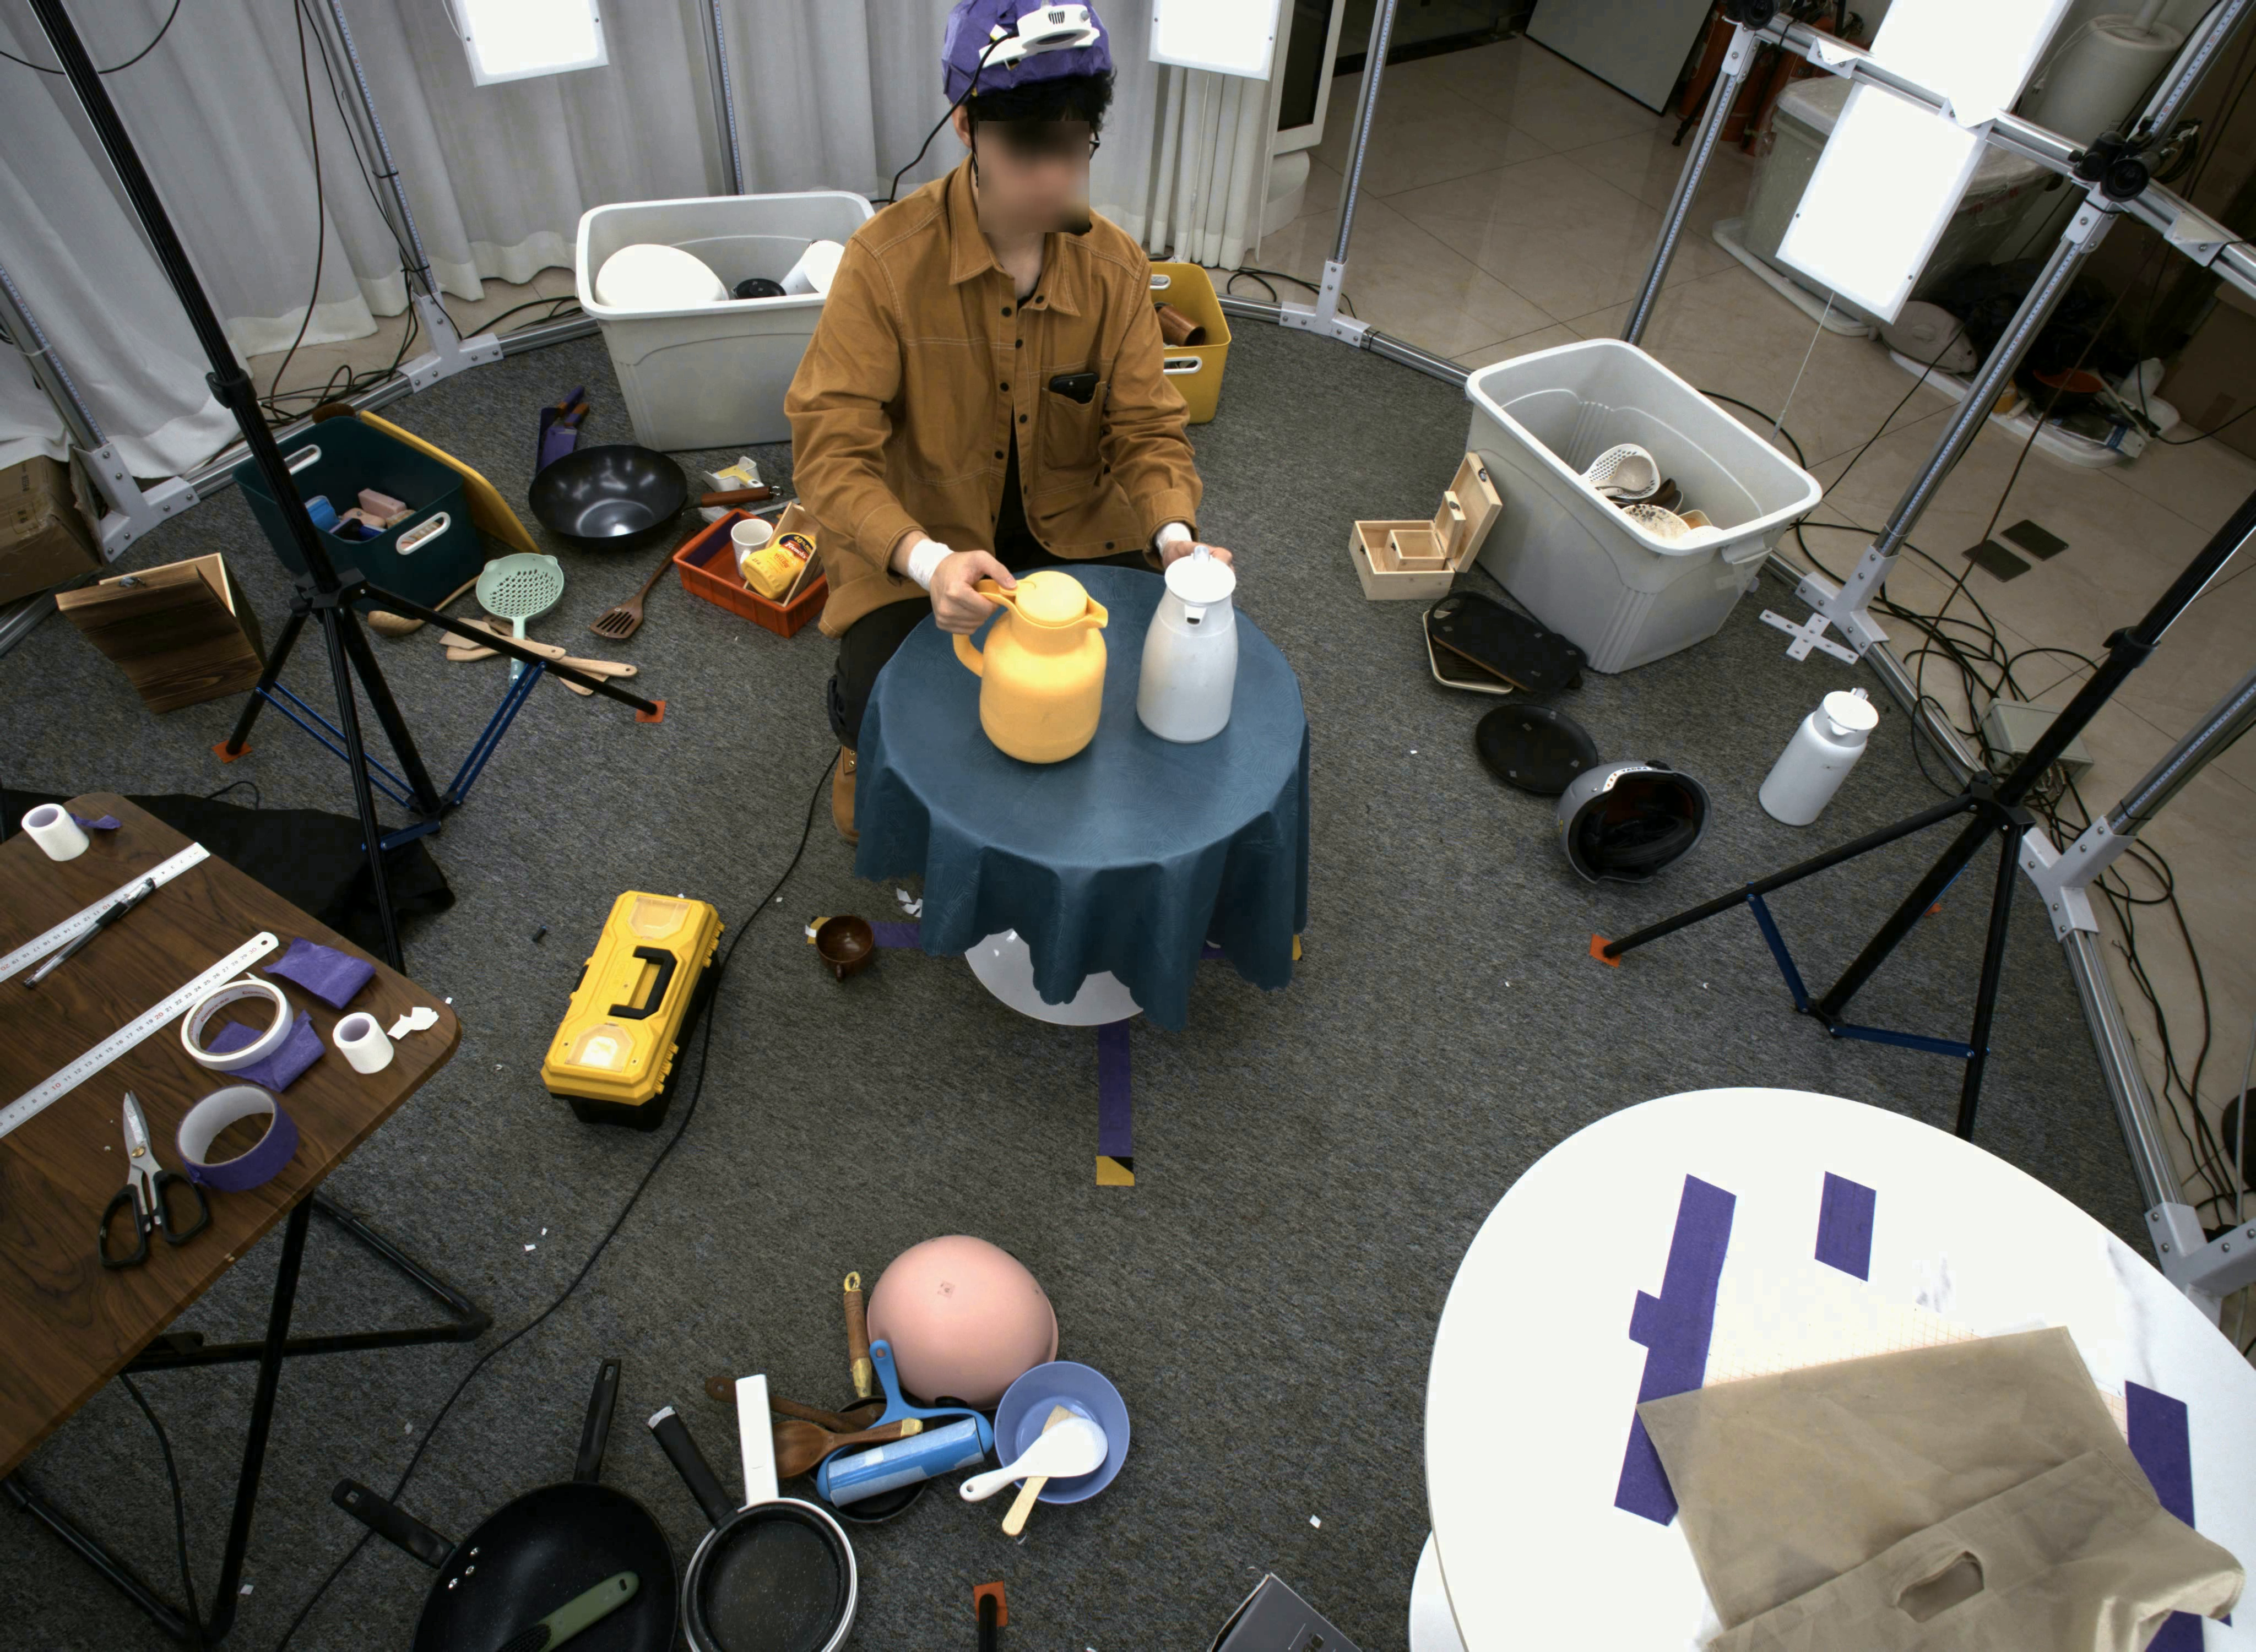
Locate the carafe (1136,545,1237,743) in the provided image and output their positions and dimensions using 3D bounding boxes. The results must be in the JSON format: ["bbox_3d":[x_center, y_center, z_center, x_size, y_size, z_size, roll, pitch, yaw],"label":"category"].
[{"bbox_3d":[0.086,-0.258,1.738,0.132,0.242,0.172,8,49,3],"label":"carafe"}]

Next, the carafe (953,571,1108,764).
[{"bbox_3d":[-0.128,-0.218,1.676,0.202,0.254,0.167,17,51,4],"label":"carafe"}]
